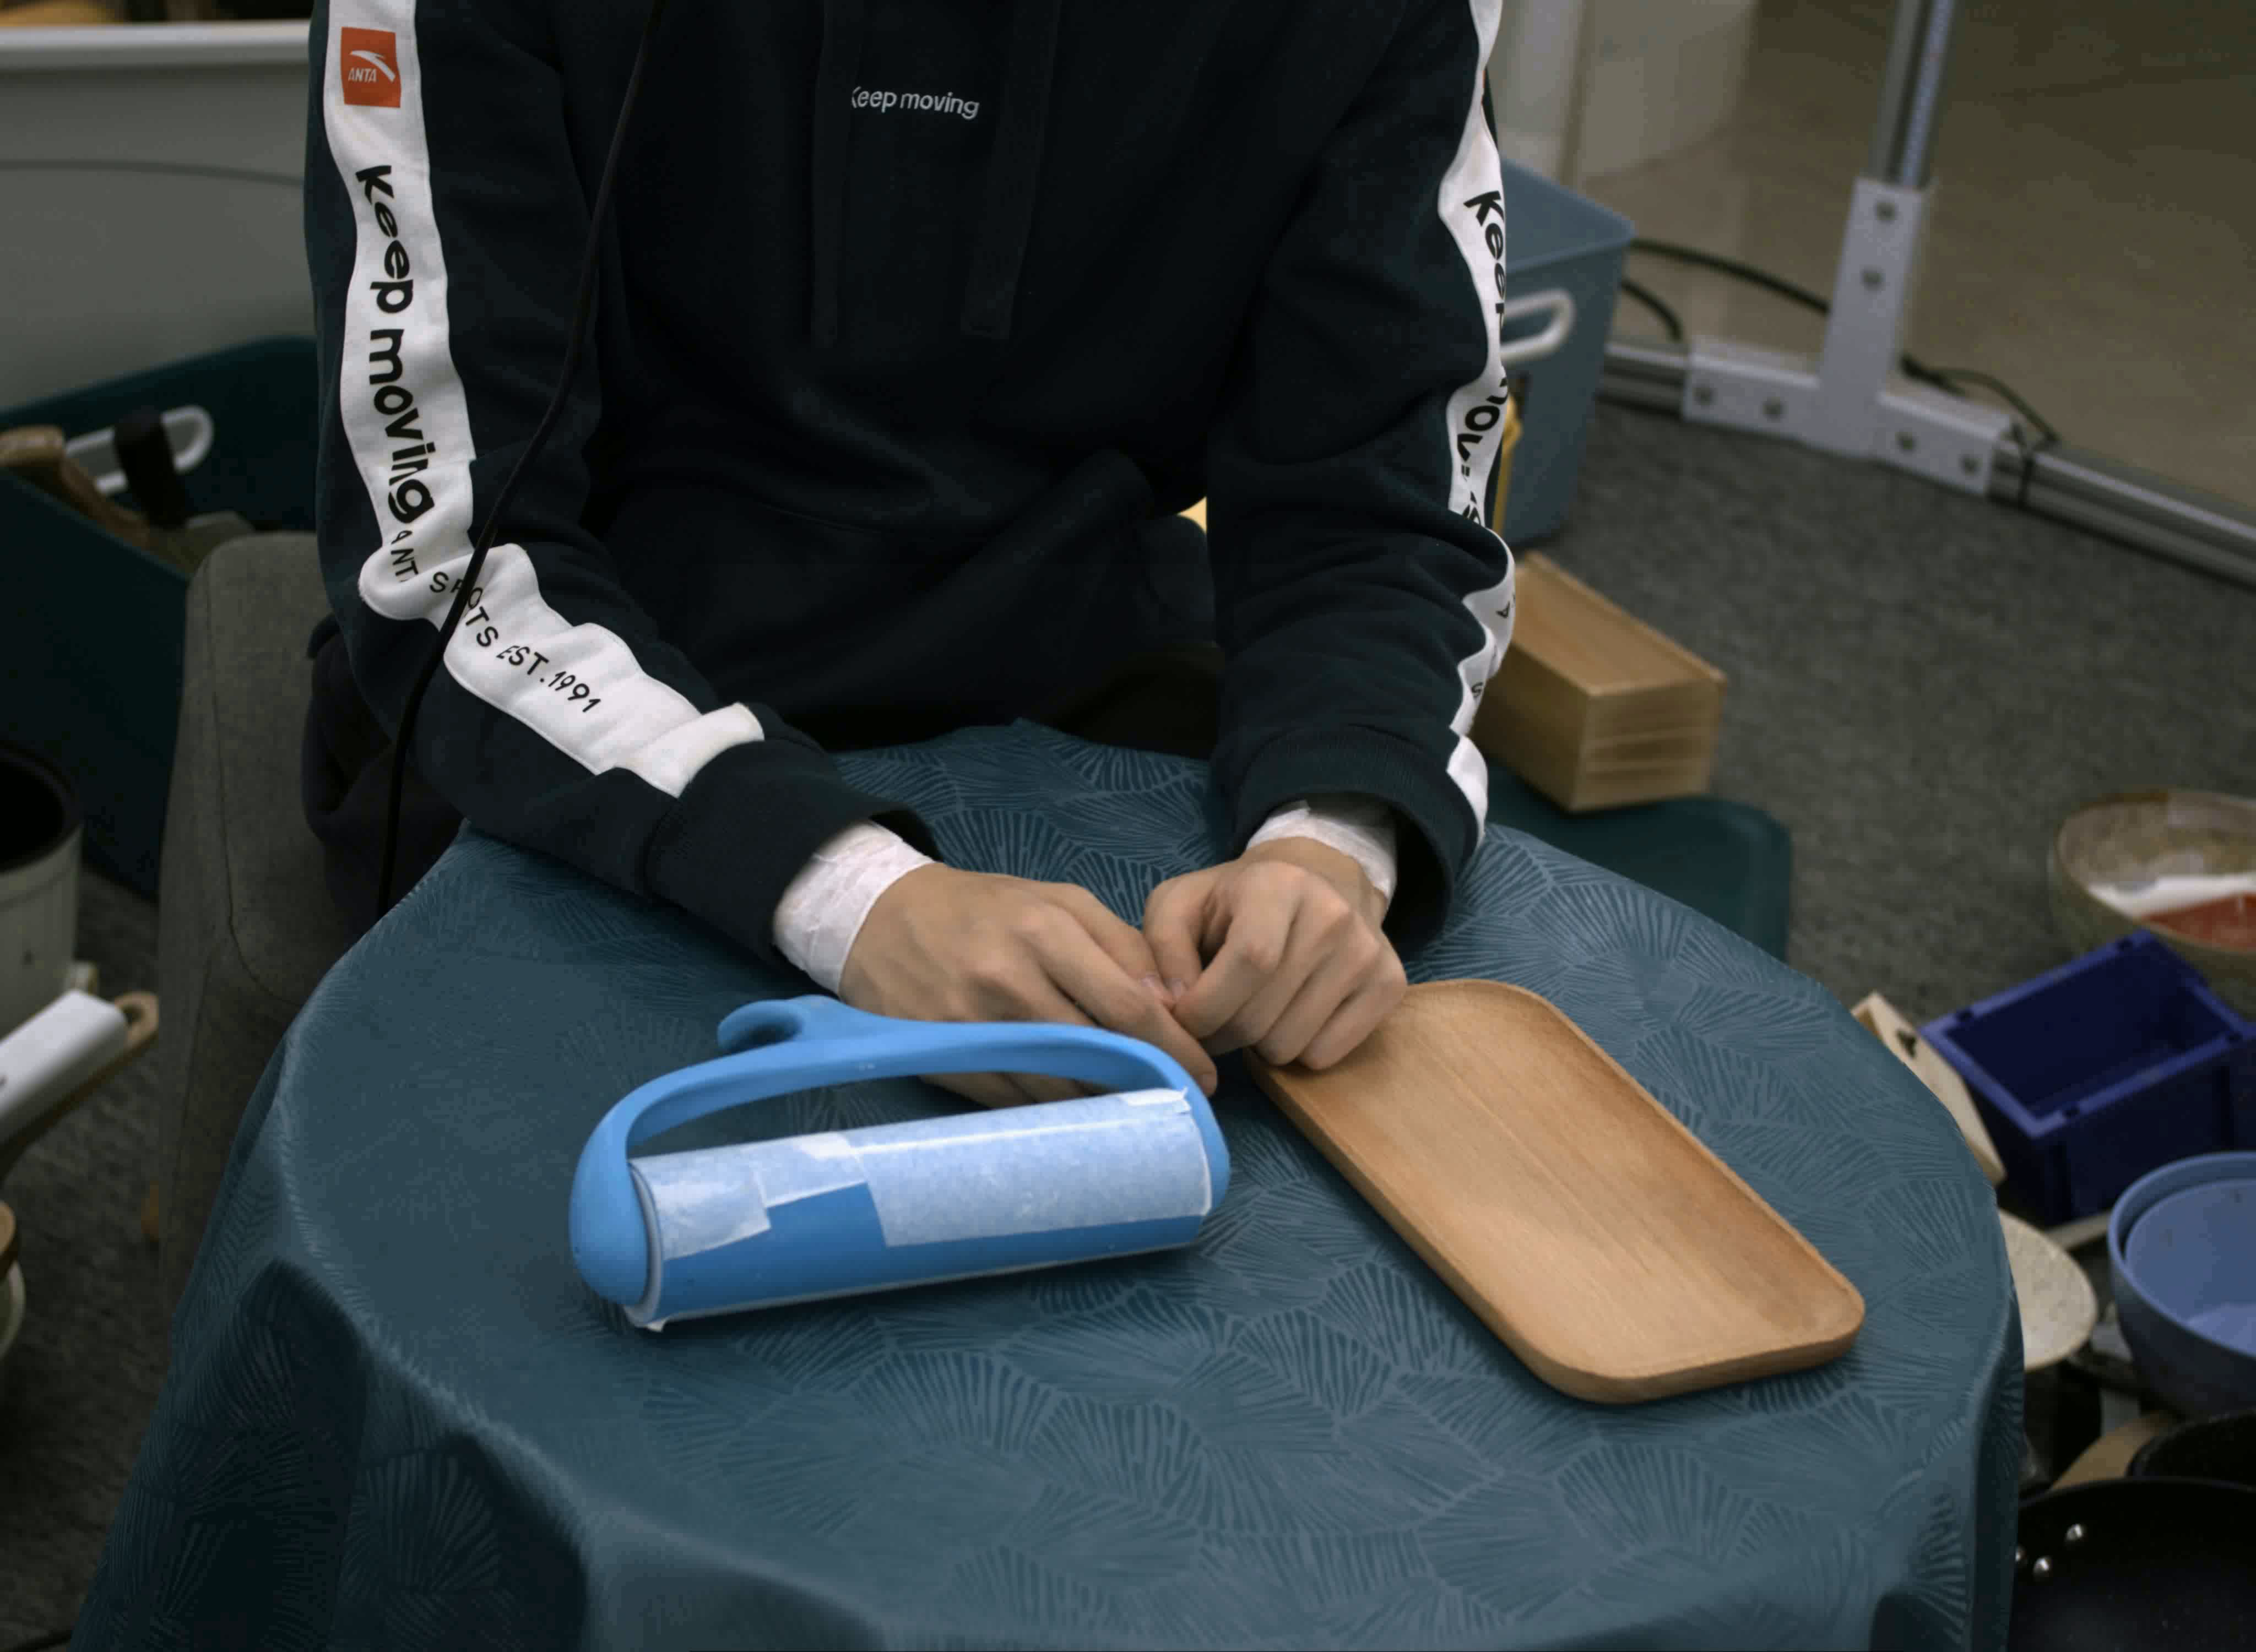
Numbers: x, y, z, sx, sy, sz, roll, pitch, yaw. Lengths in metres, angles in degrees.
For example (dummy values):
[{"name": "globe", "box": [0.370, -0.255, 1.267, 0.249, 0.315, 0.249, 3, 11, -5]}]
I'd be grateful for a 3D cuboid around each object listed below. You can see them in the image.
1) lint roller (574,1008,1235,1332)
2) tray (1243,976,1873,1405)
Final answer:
[{"name": "lint roller", "box": [-0.096, 0.095, 1.770, 0.227, 0.067, 0.182, -9, 31, -25]}, {"name": "tray", "box": [0.142, 0.121, 1.816, 0.129, 0.023, 0.253, -5, 28, -26]}]
